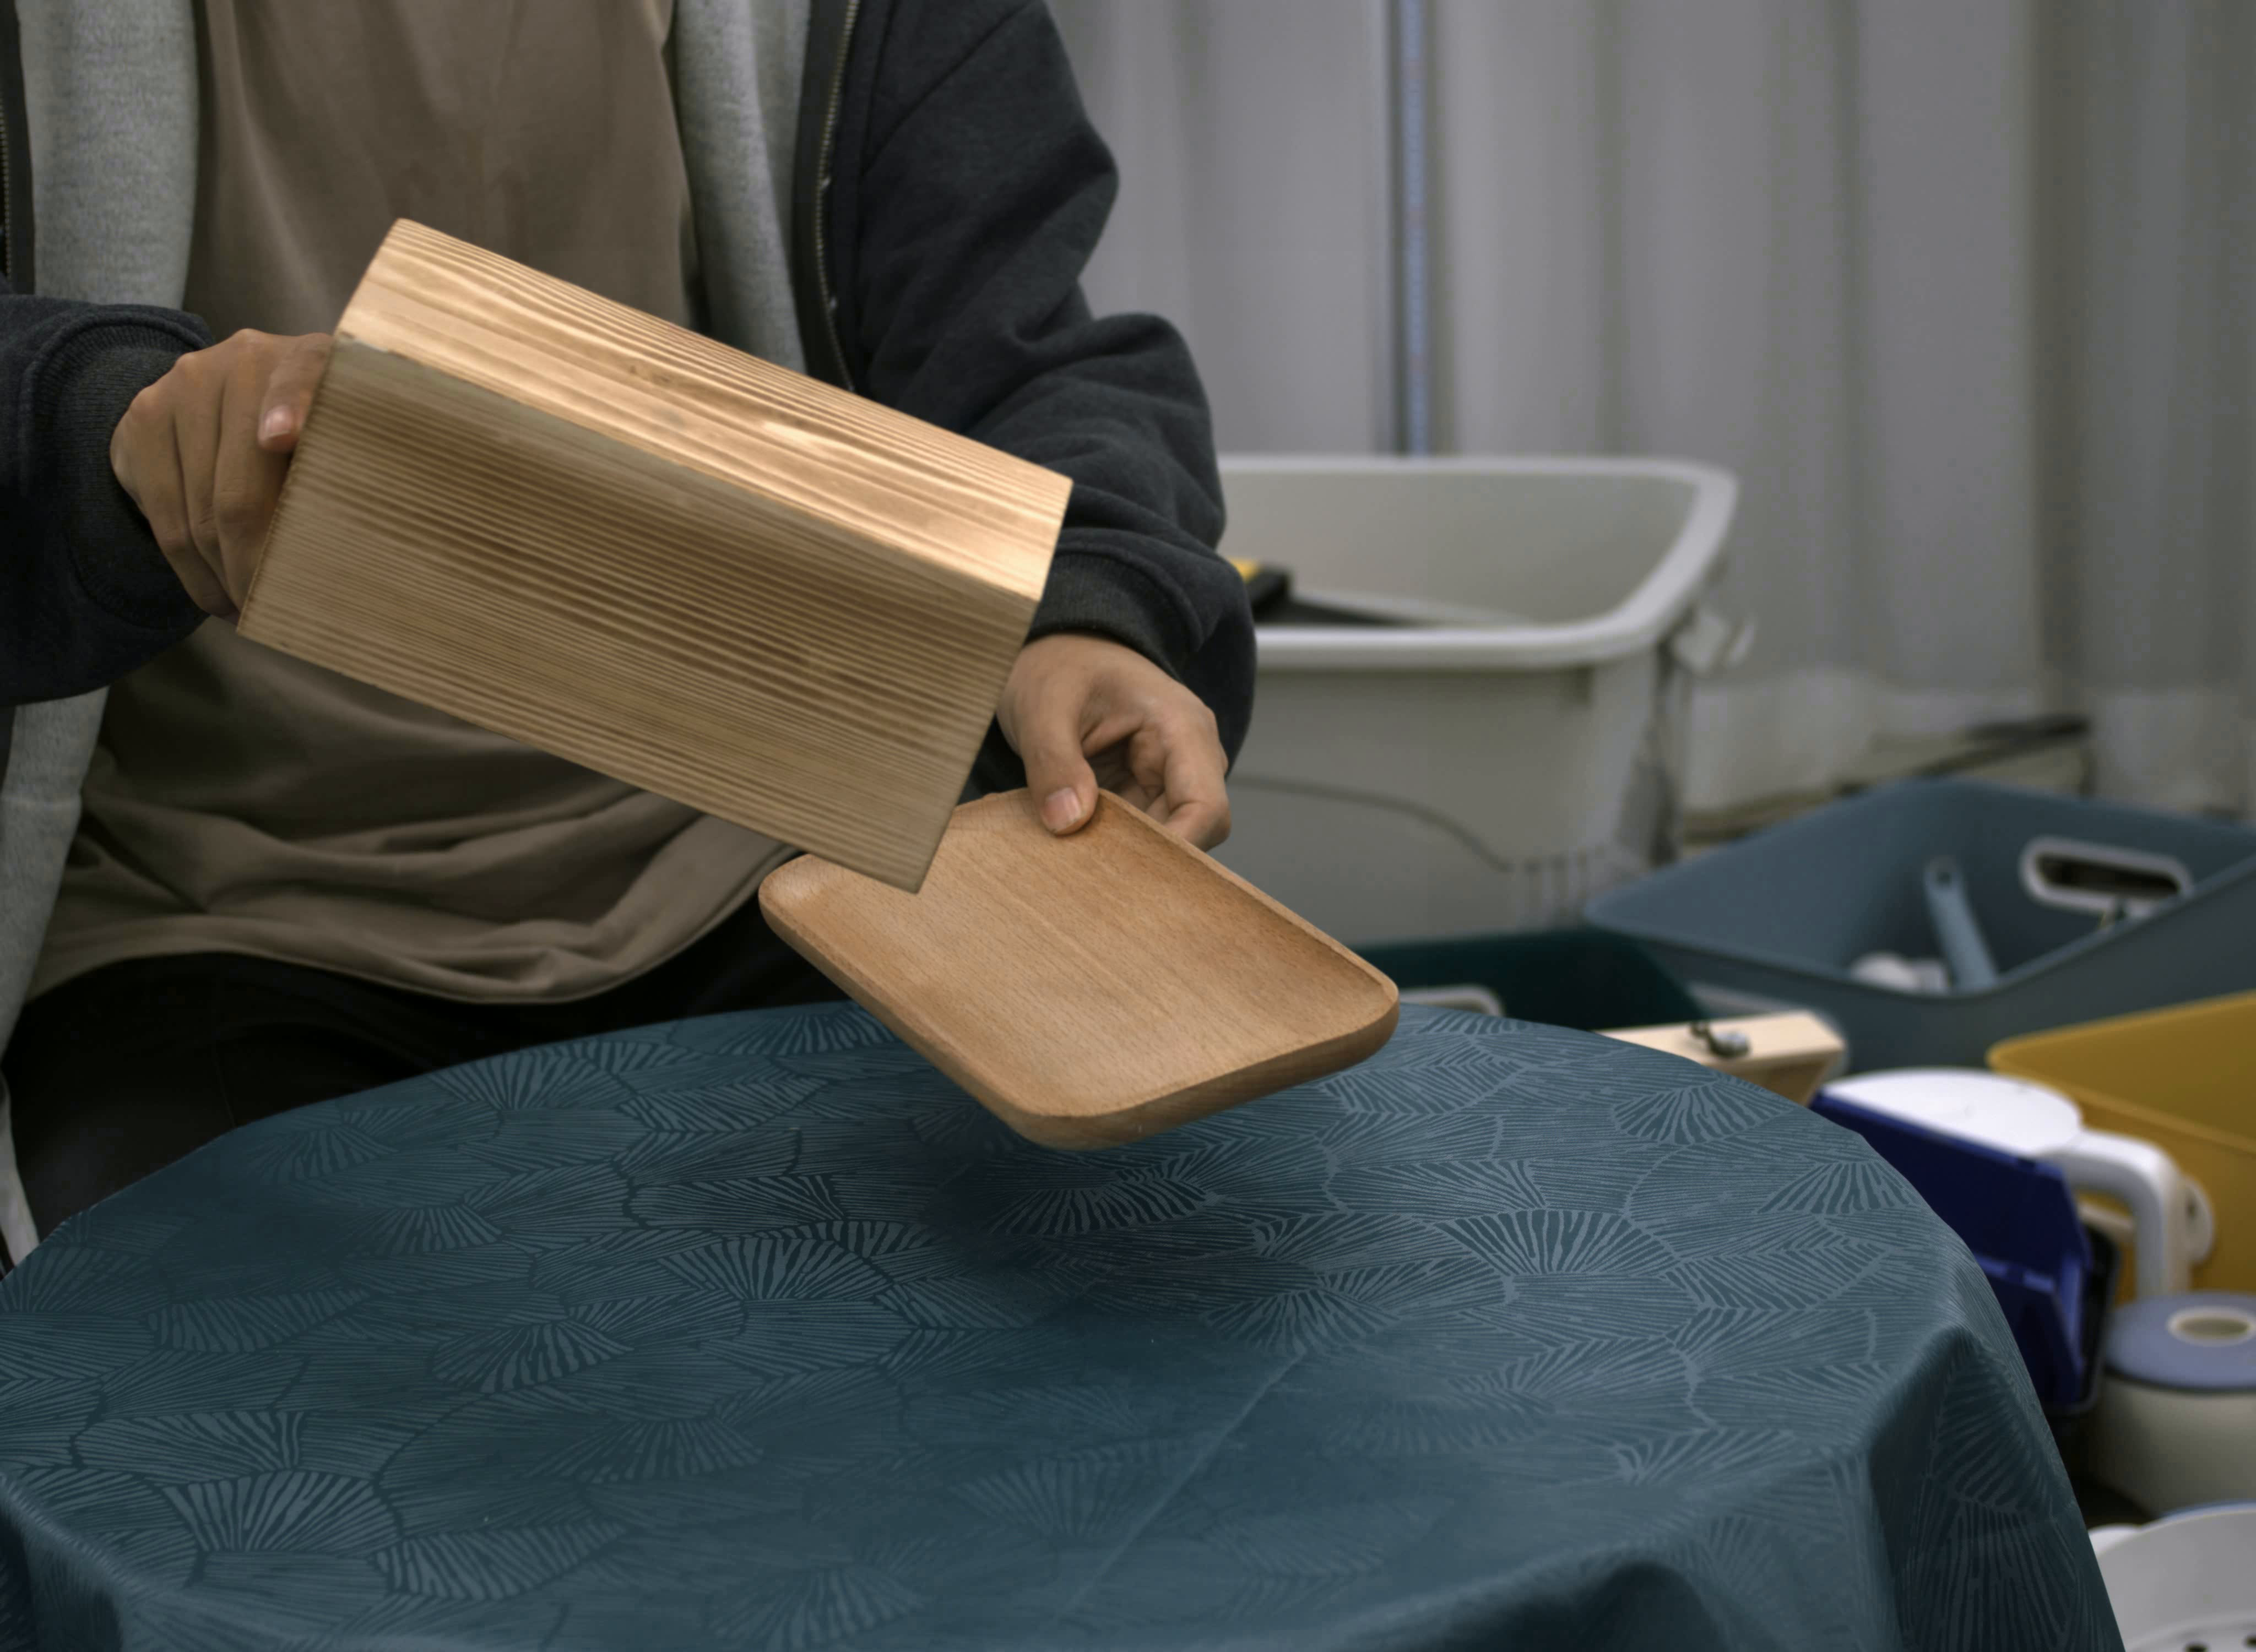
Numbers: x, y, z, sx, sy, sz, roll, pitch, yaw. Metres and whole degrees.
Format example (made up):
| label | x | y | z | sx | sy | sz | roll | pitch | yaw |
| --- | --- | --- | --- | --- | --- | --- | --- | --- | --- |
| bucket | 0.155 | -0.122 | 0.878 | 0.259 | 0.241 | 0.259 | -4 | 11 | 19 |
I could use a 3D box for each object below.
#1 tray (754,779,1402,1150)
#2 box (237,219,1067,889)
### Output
| label | x | y | z | sx | sy | sz | roll | pitch | yaw |
| --- | --- | --- | --- | --- | --- | --- | --- | --- | --- |
| tray | -0.019 | 0.040 | 1.688 | 0.130 | 0.023 | 0.253 | -15 | 22 | -21 |
| box | -0.137 | -0.079 | 1.585 | 0.210 | 0.106 | 0.081 | 21 | 29 | -3 |
